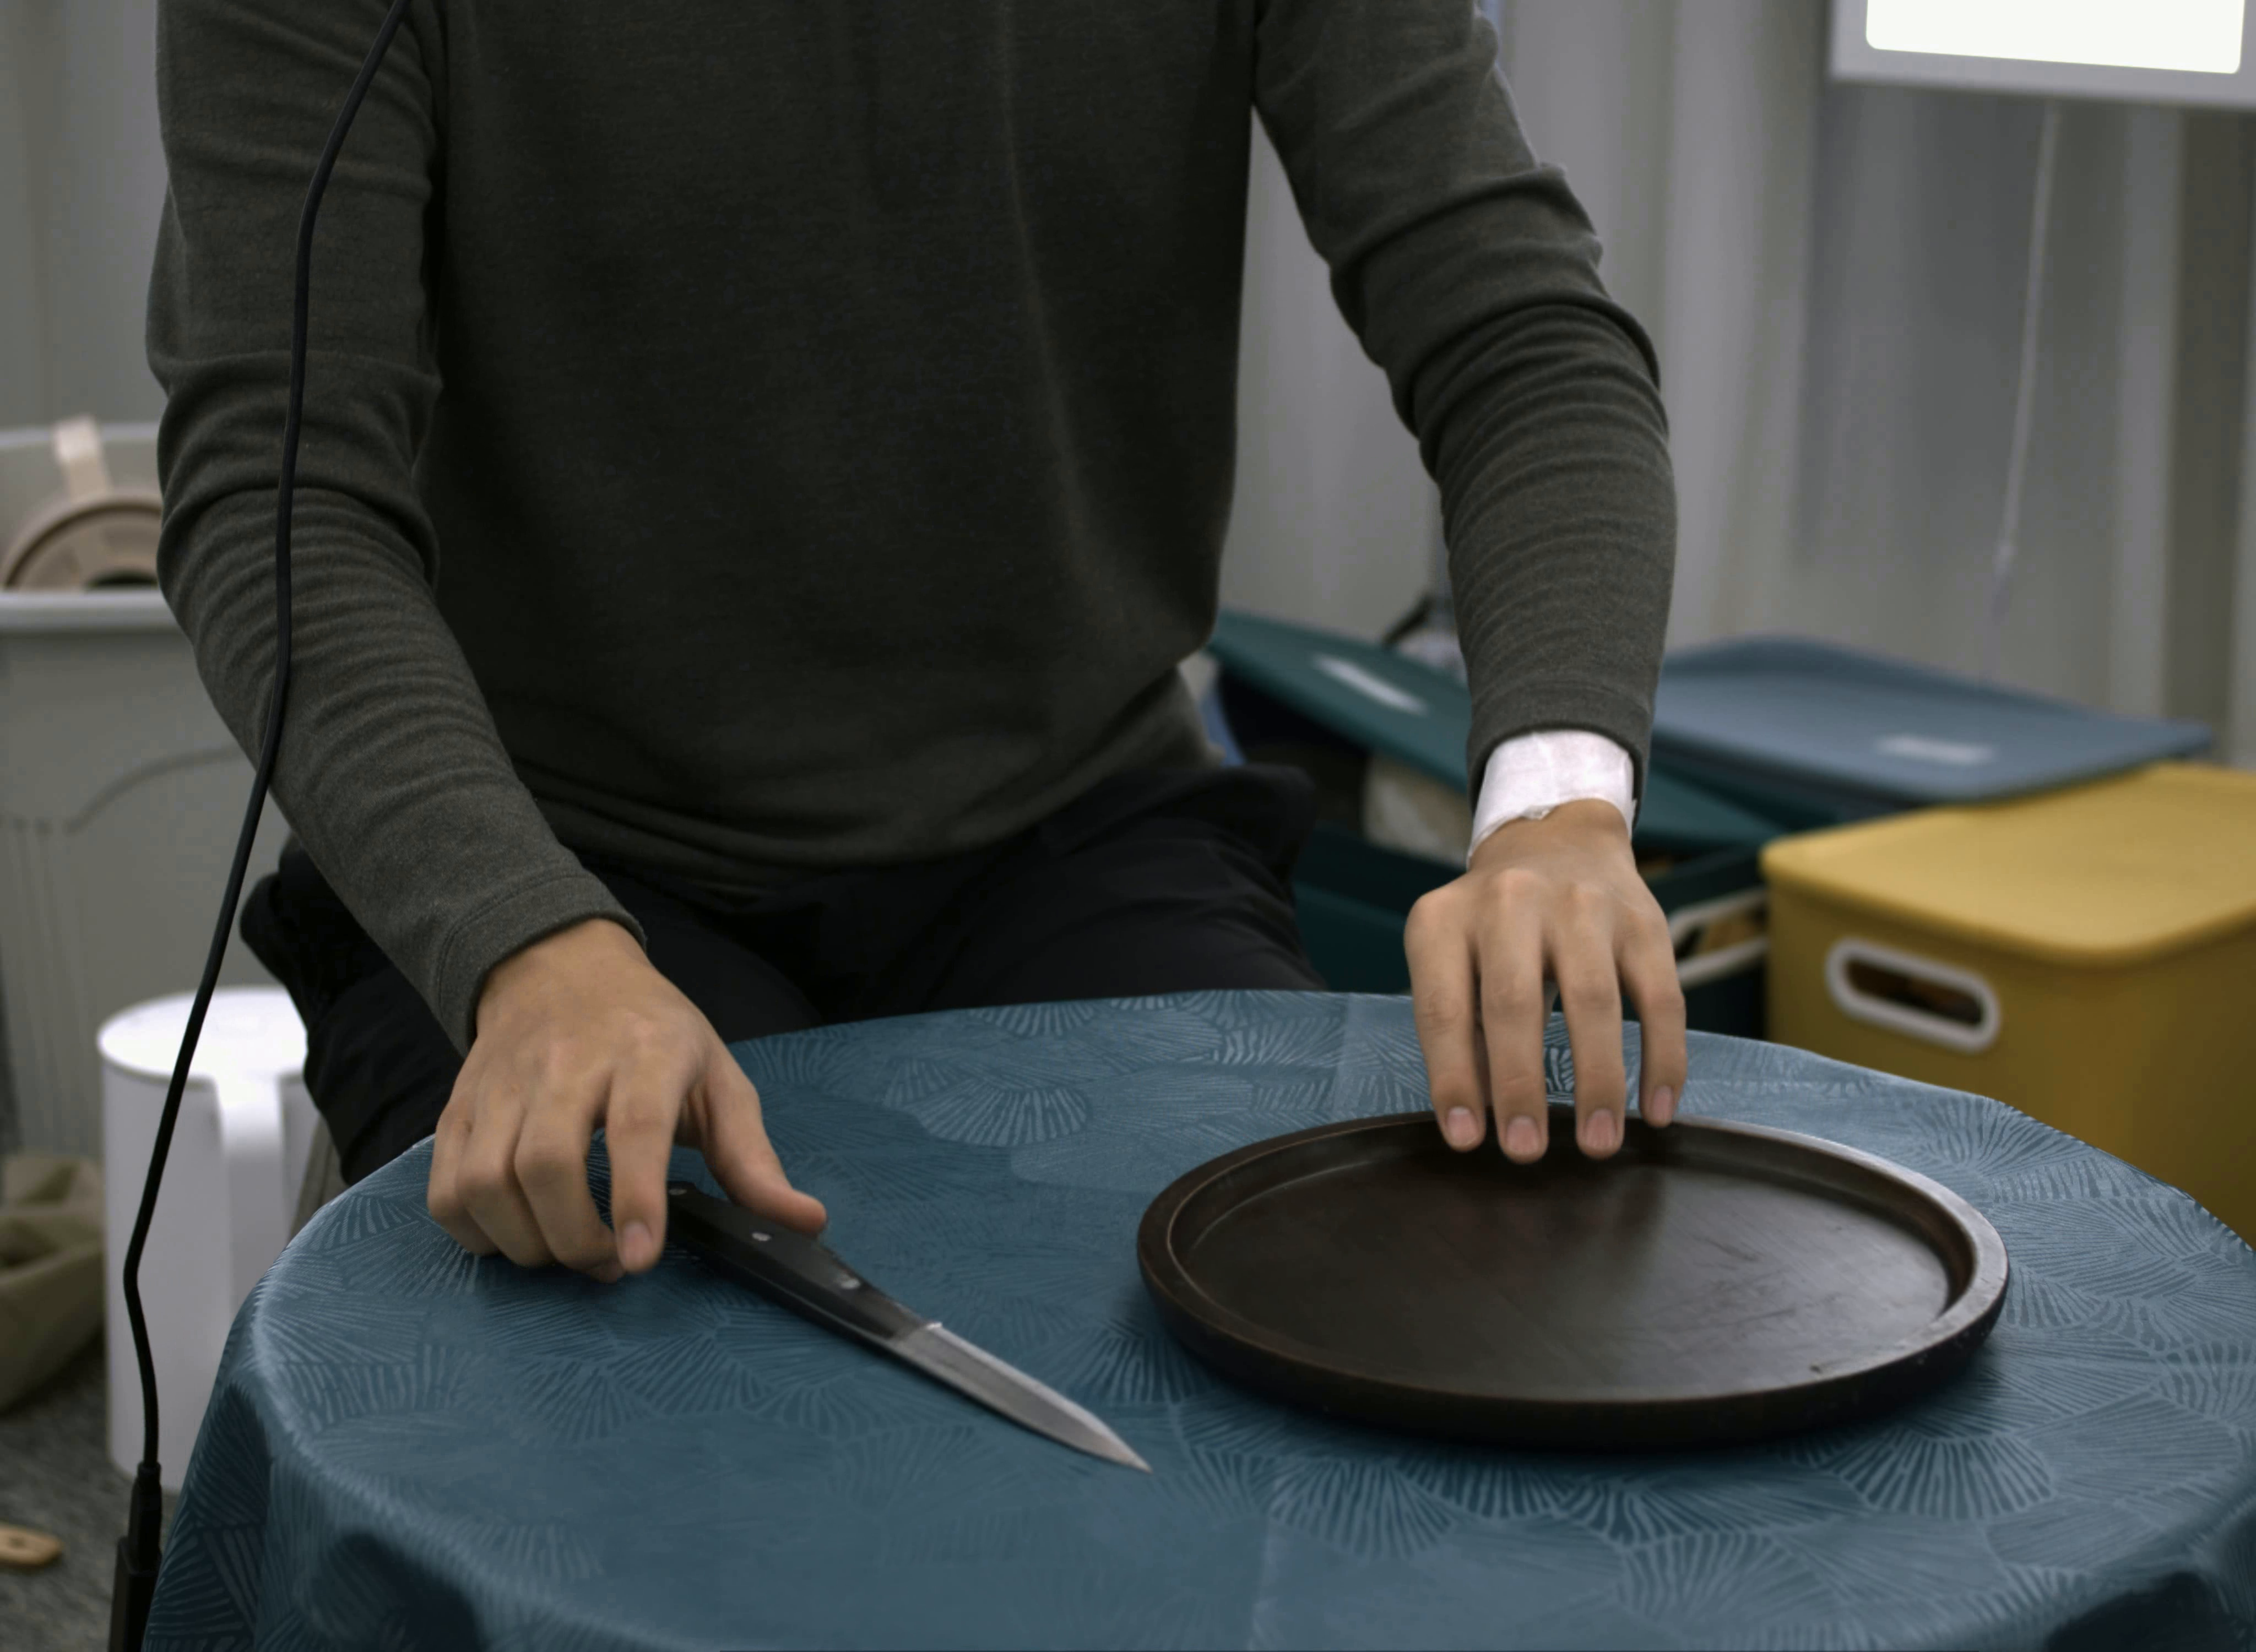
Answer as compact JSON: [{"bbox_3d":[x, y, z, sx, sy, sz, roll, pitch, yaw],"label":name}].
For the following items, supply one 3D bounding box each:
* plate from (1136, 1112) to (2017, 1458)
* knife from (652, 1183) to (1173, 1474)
[{"bbox_3d":[0.129,0.129,1.525,0.254,0.029,0.253,1,16,0],"label":"plate"},{"bbox_3d":[-0.066,0.143,1.490,0.024,0.016,0.235,-15,24,-37],"label":"knife"}]
